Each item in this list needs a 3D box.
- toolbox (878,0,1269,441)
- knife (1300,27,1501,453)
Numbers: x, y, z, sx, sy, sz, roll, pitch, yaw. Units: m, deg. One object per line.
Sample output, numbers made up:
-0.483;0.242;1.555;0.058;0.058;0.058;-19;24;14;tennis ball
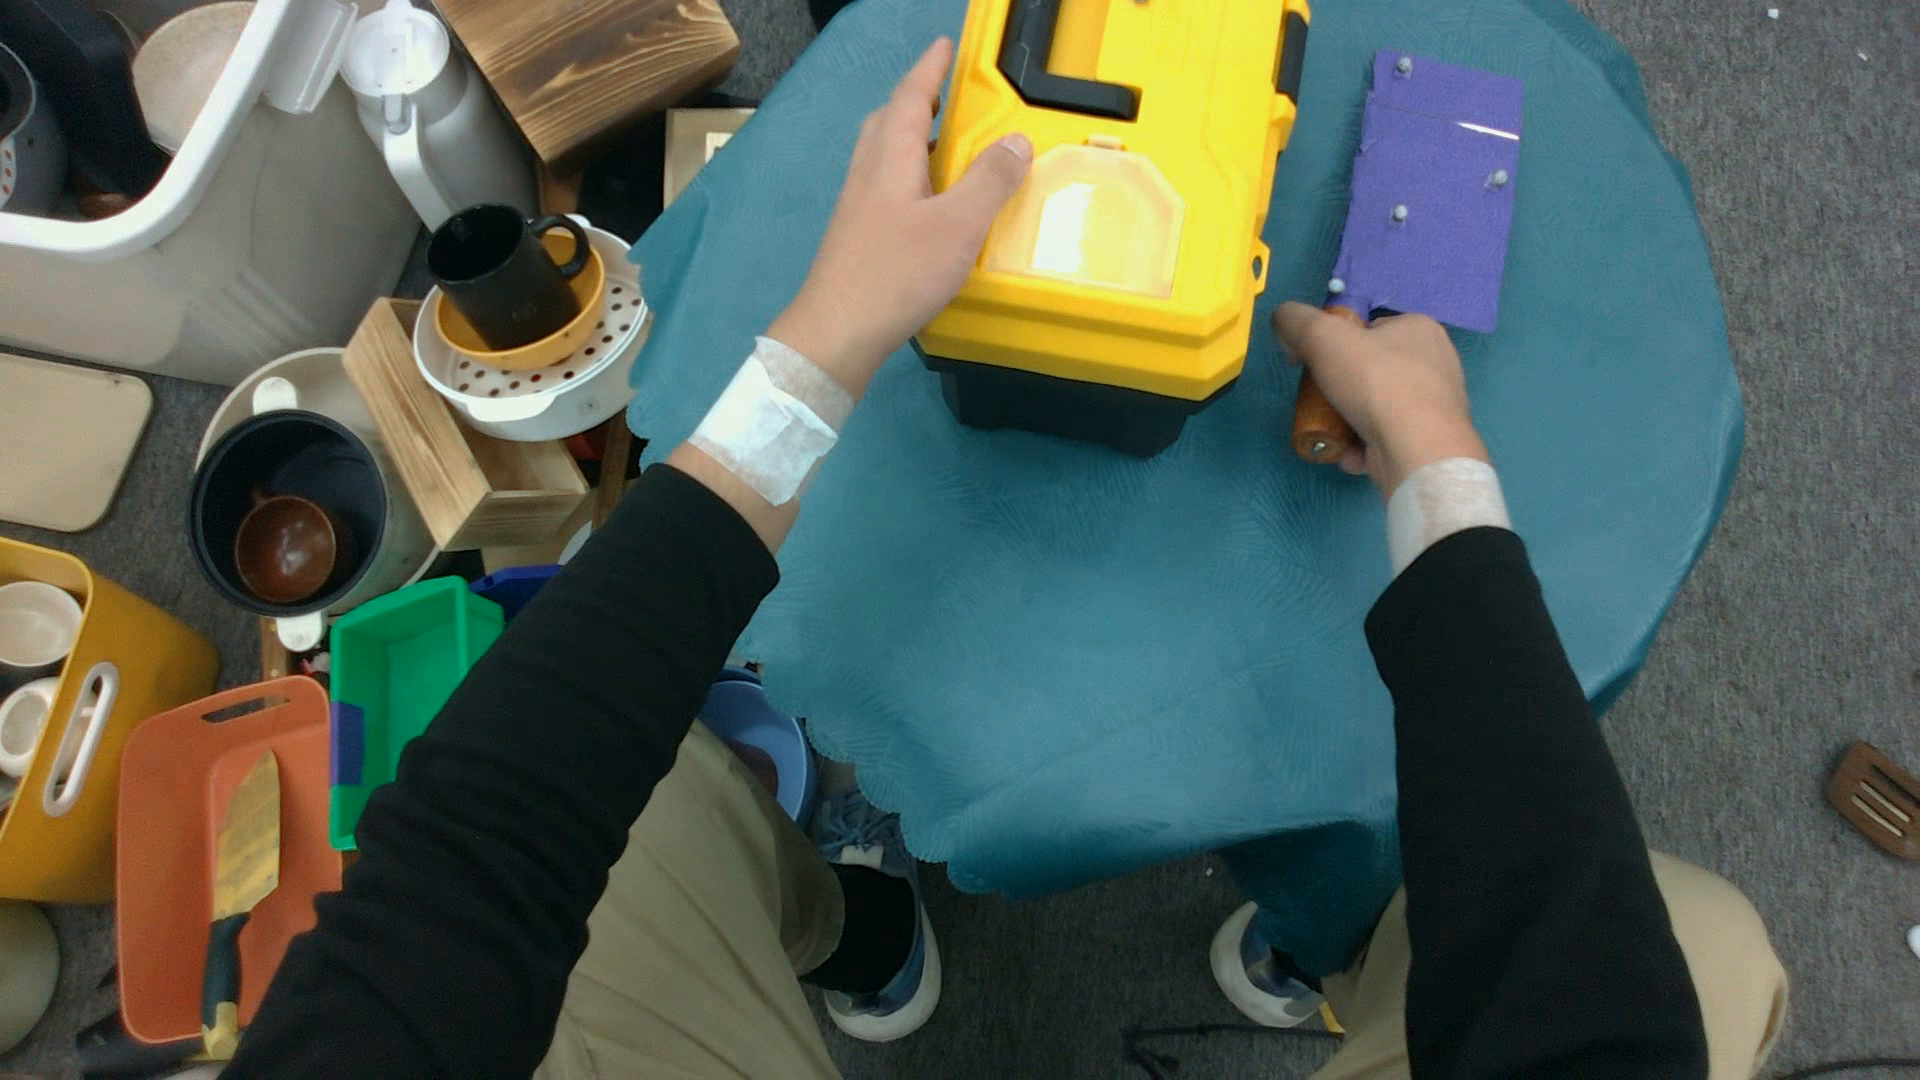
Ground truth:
0.073;-0.236;0.740;0.181;0.172;0.352;10;72;4;toolbox
0.248;-0.176;0.768;0.104;0.032;0.316;13;61;2;knife
